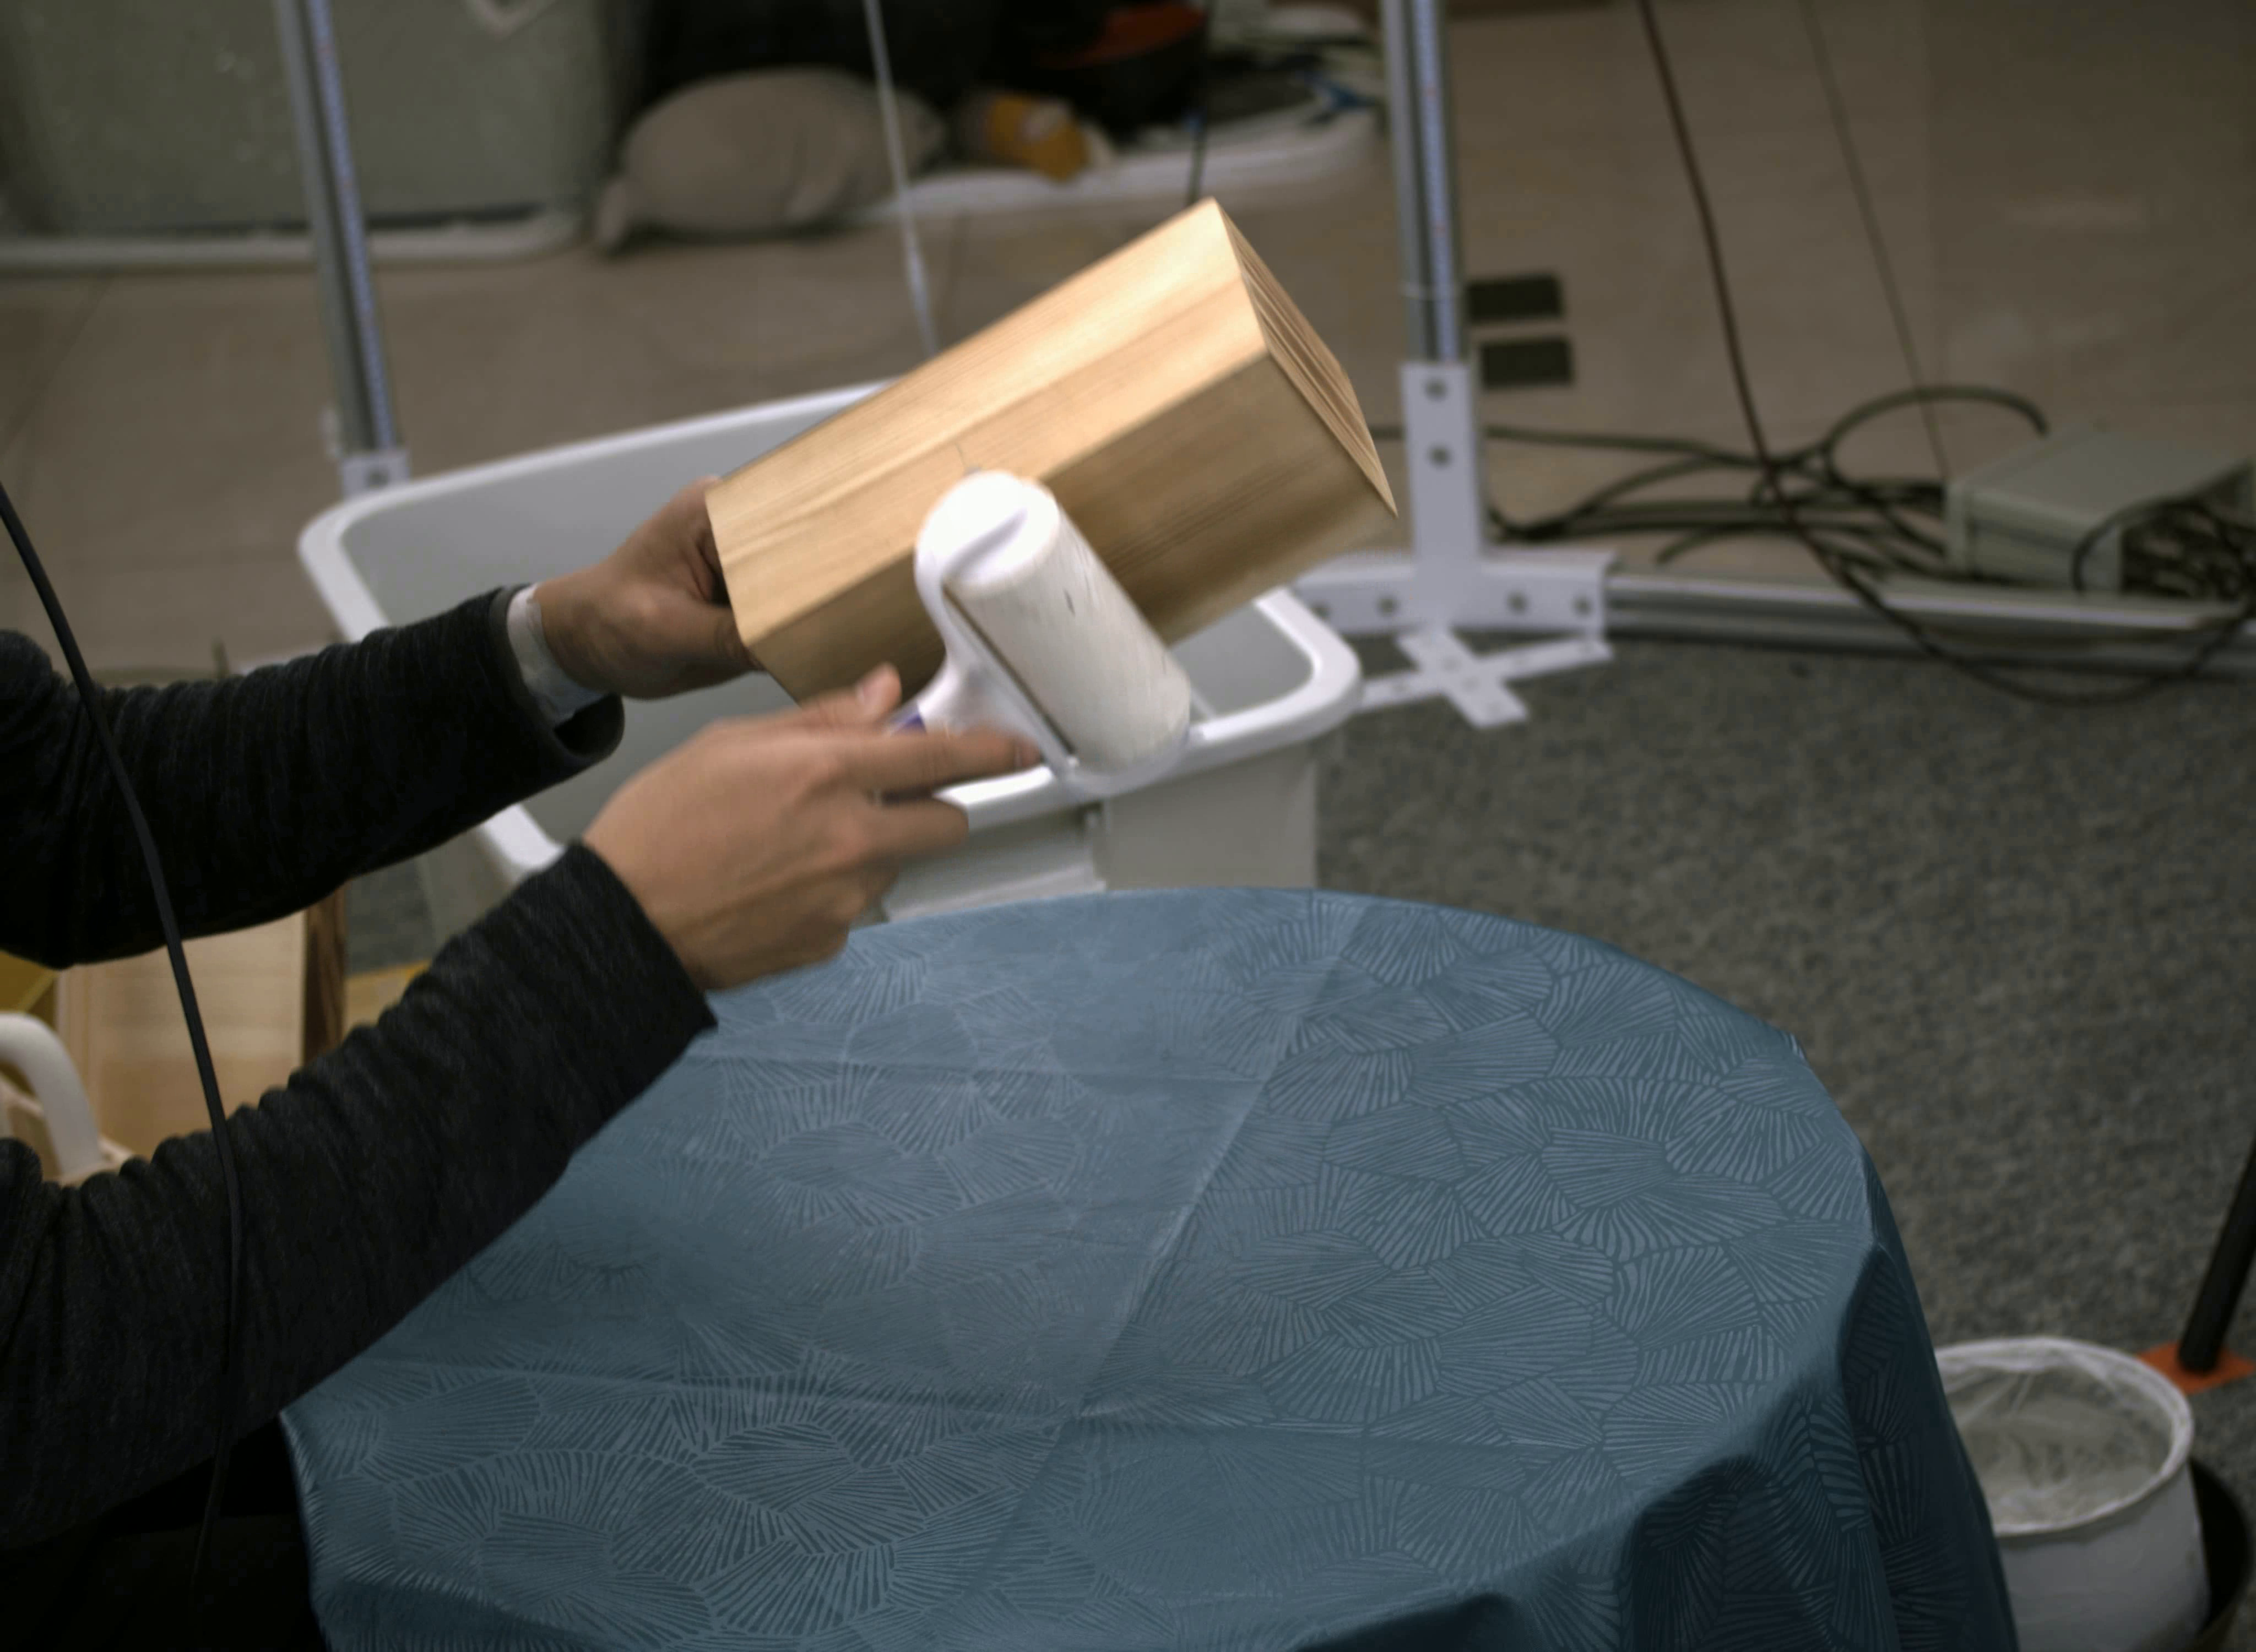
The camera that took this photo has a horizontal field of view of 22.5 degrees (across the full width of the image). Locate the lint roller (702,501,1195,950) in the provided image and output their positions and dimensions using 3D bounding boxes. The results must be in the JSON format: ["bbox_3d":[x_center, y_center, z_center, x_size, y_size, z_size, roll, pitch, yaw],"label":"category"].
[{"bbox_3d":[-0.068,-0.016,1.910,0.180,0.135,0.049,-42,43,-7],"label":"lint roller"}]

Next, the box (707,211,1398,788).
[{"bbox_3d":[-0.026,-0.109,1.986,0.212,0.109,0.079,-28,49,12],"label":"box"}]
